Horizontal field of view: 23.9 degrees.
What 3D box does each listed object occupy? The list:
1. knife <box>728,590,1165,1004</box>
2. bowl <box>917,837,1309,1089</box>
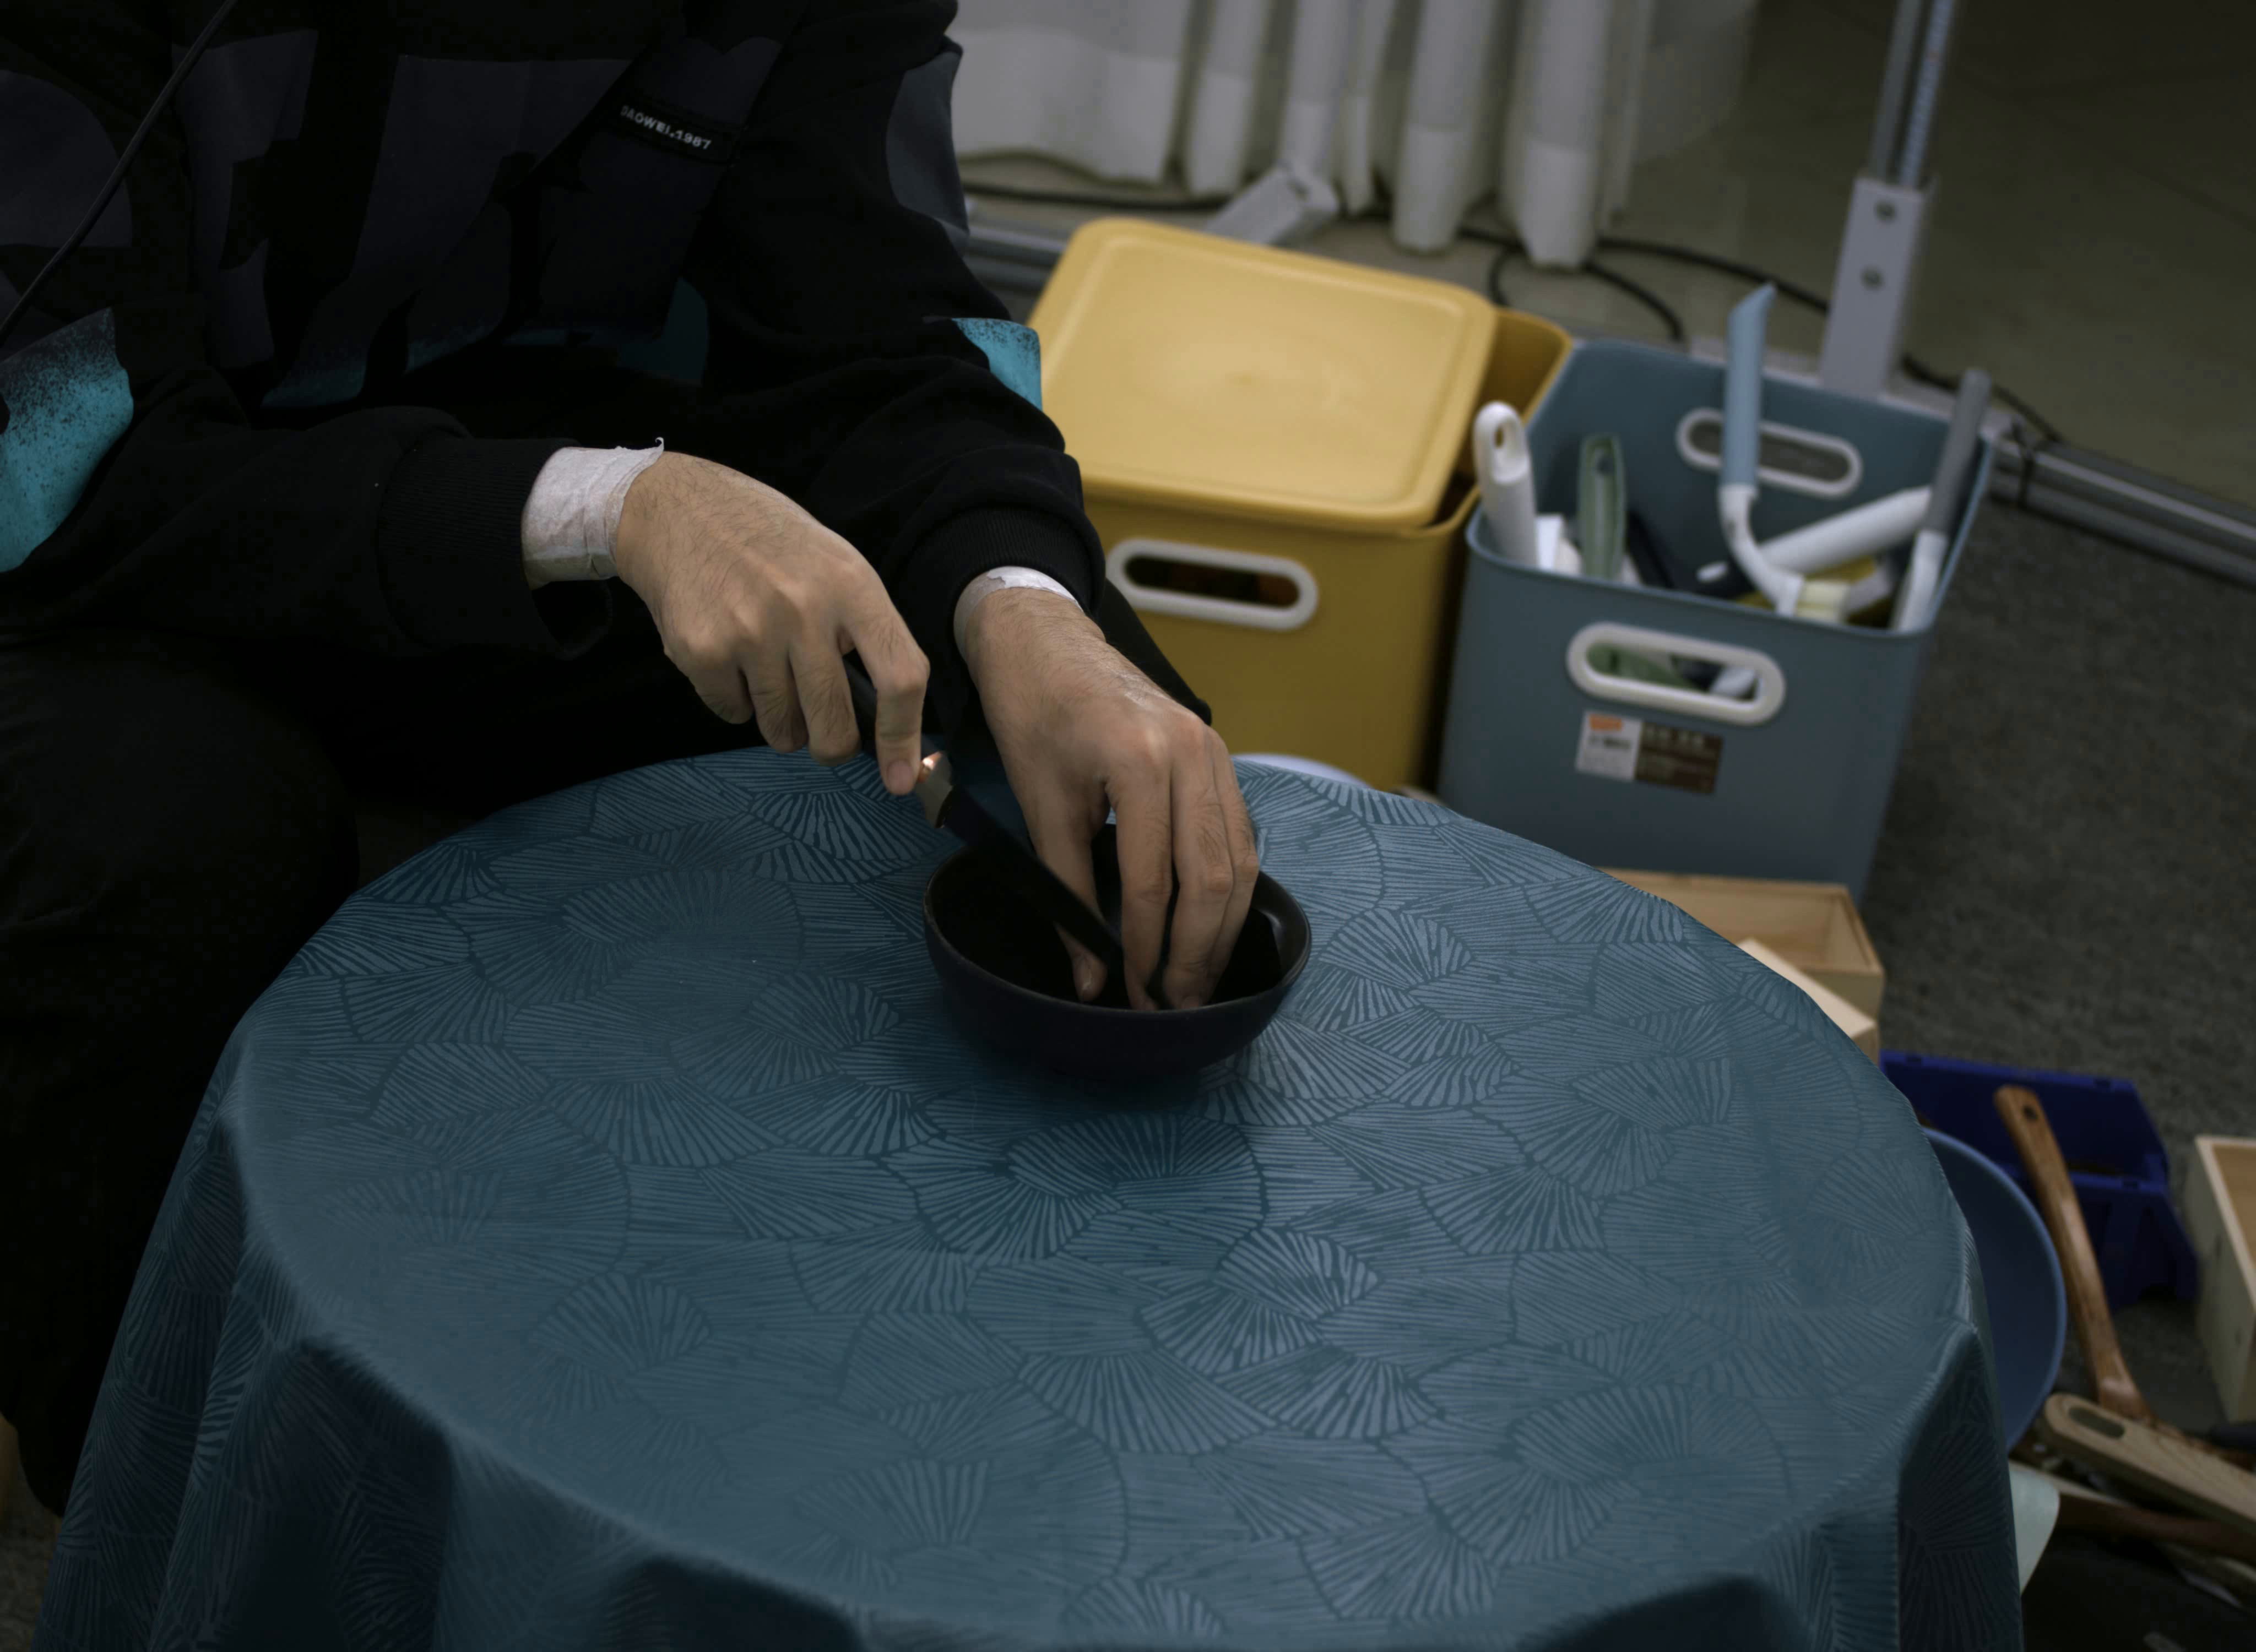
[{"bbox_3d":[-0.060,-0.006,1.883,0.226,0.026,0.017,42,48,14],"label":"knife"},{"bbox_3d":[-0.006,0.055,1.887,0.139,0.049,0.141,2,25,-1],"label":"bowl"}]
